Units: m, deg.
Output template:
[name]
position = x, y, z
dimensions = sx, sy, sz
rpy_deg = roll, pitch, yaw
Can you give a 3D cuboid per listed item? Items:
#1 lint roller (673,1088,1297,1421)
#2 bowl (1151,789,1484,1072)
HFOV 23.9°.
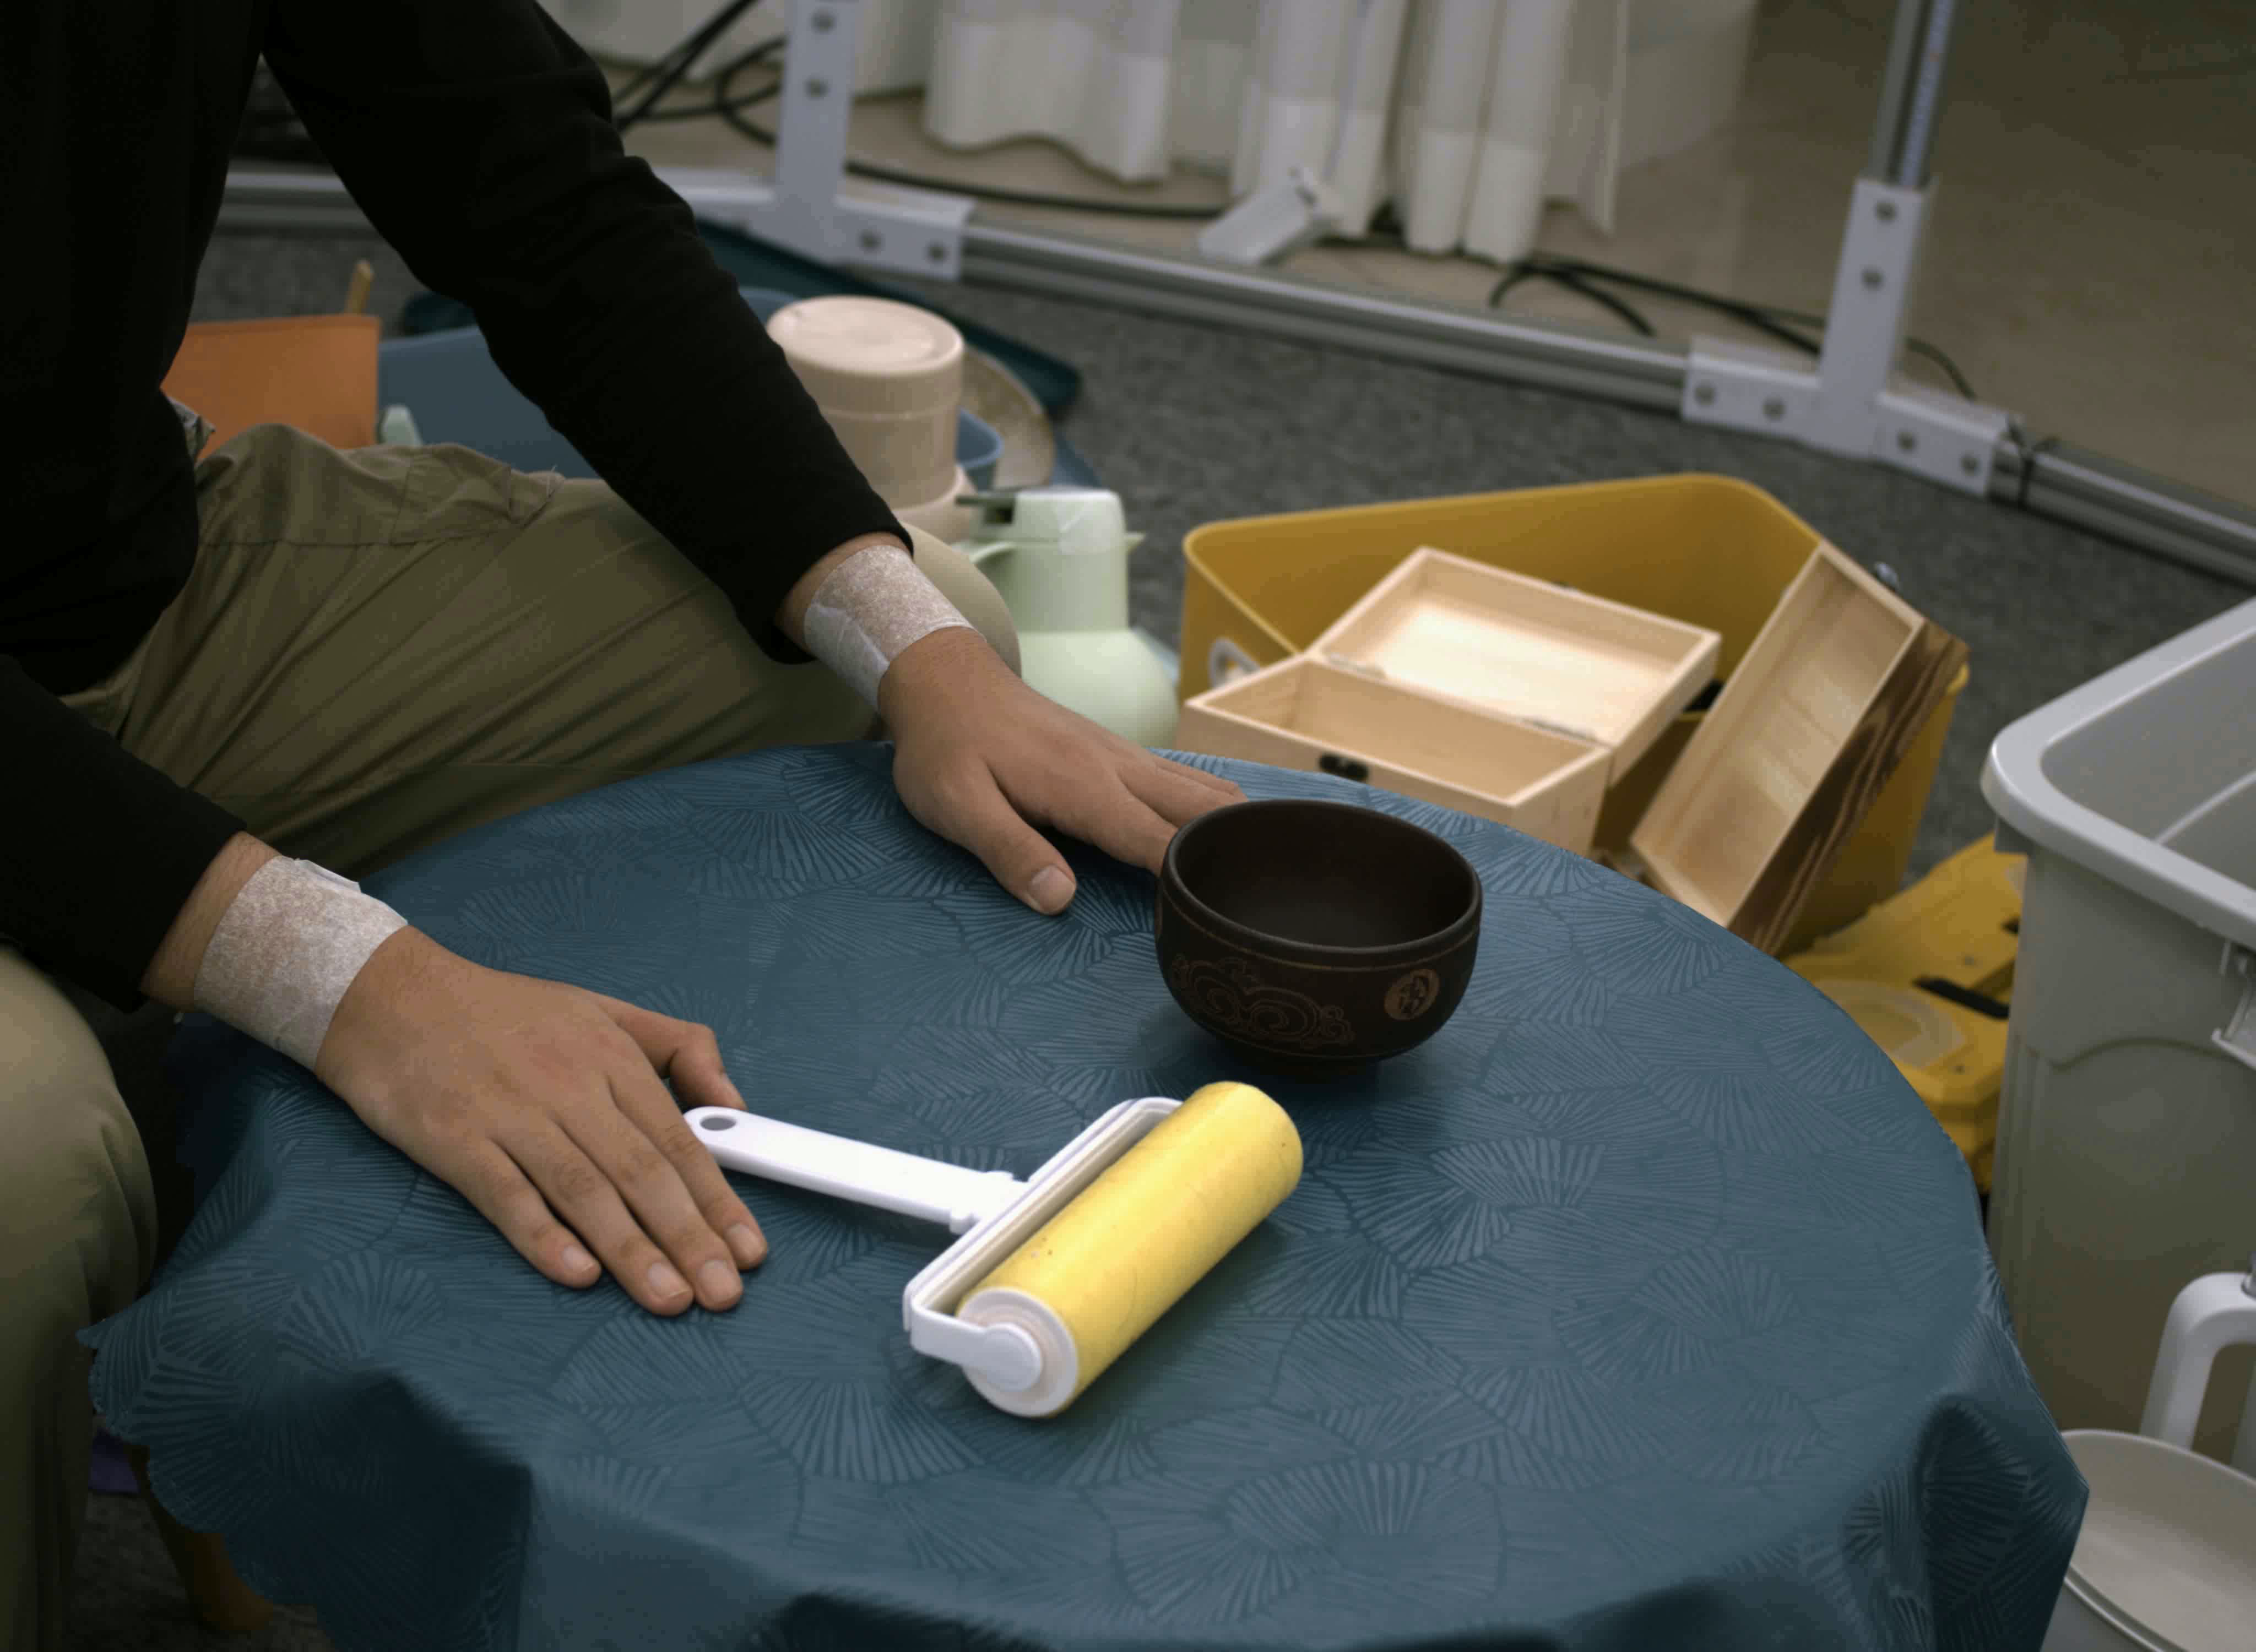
[lint roller]
position = -0.063, 0.114, 1.750
dimensions = 0.192, 0.051, 0.174
rpy_deg = 22, 30, 18
[bowl]
position = 0.065, 0.044, 1.890
dimensions = 0.117, 0.069, 0.119
rpy_deg = 6, 26, -3
